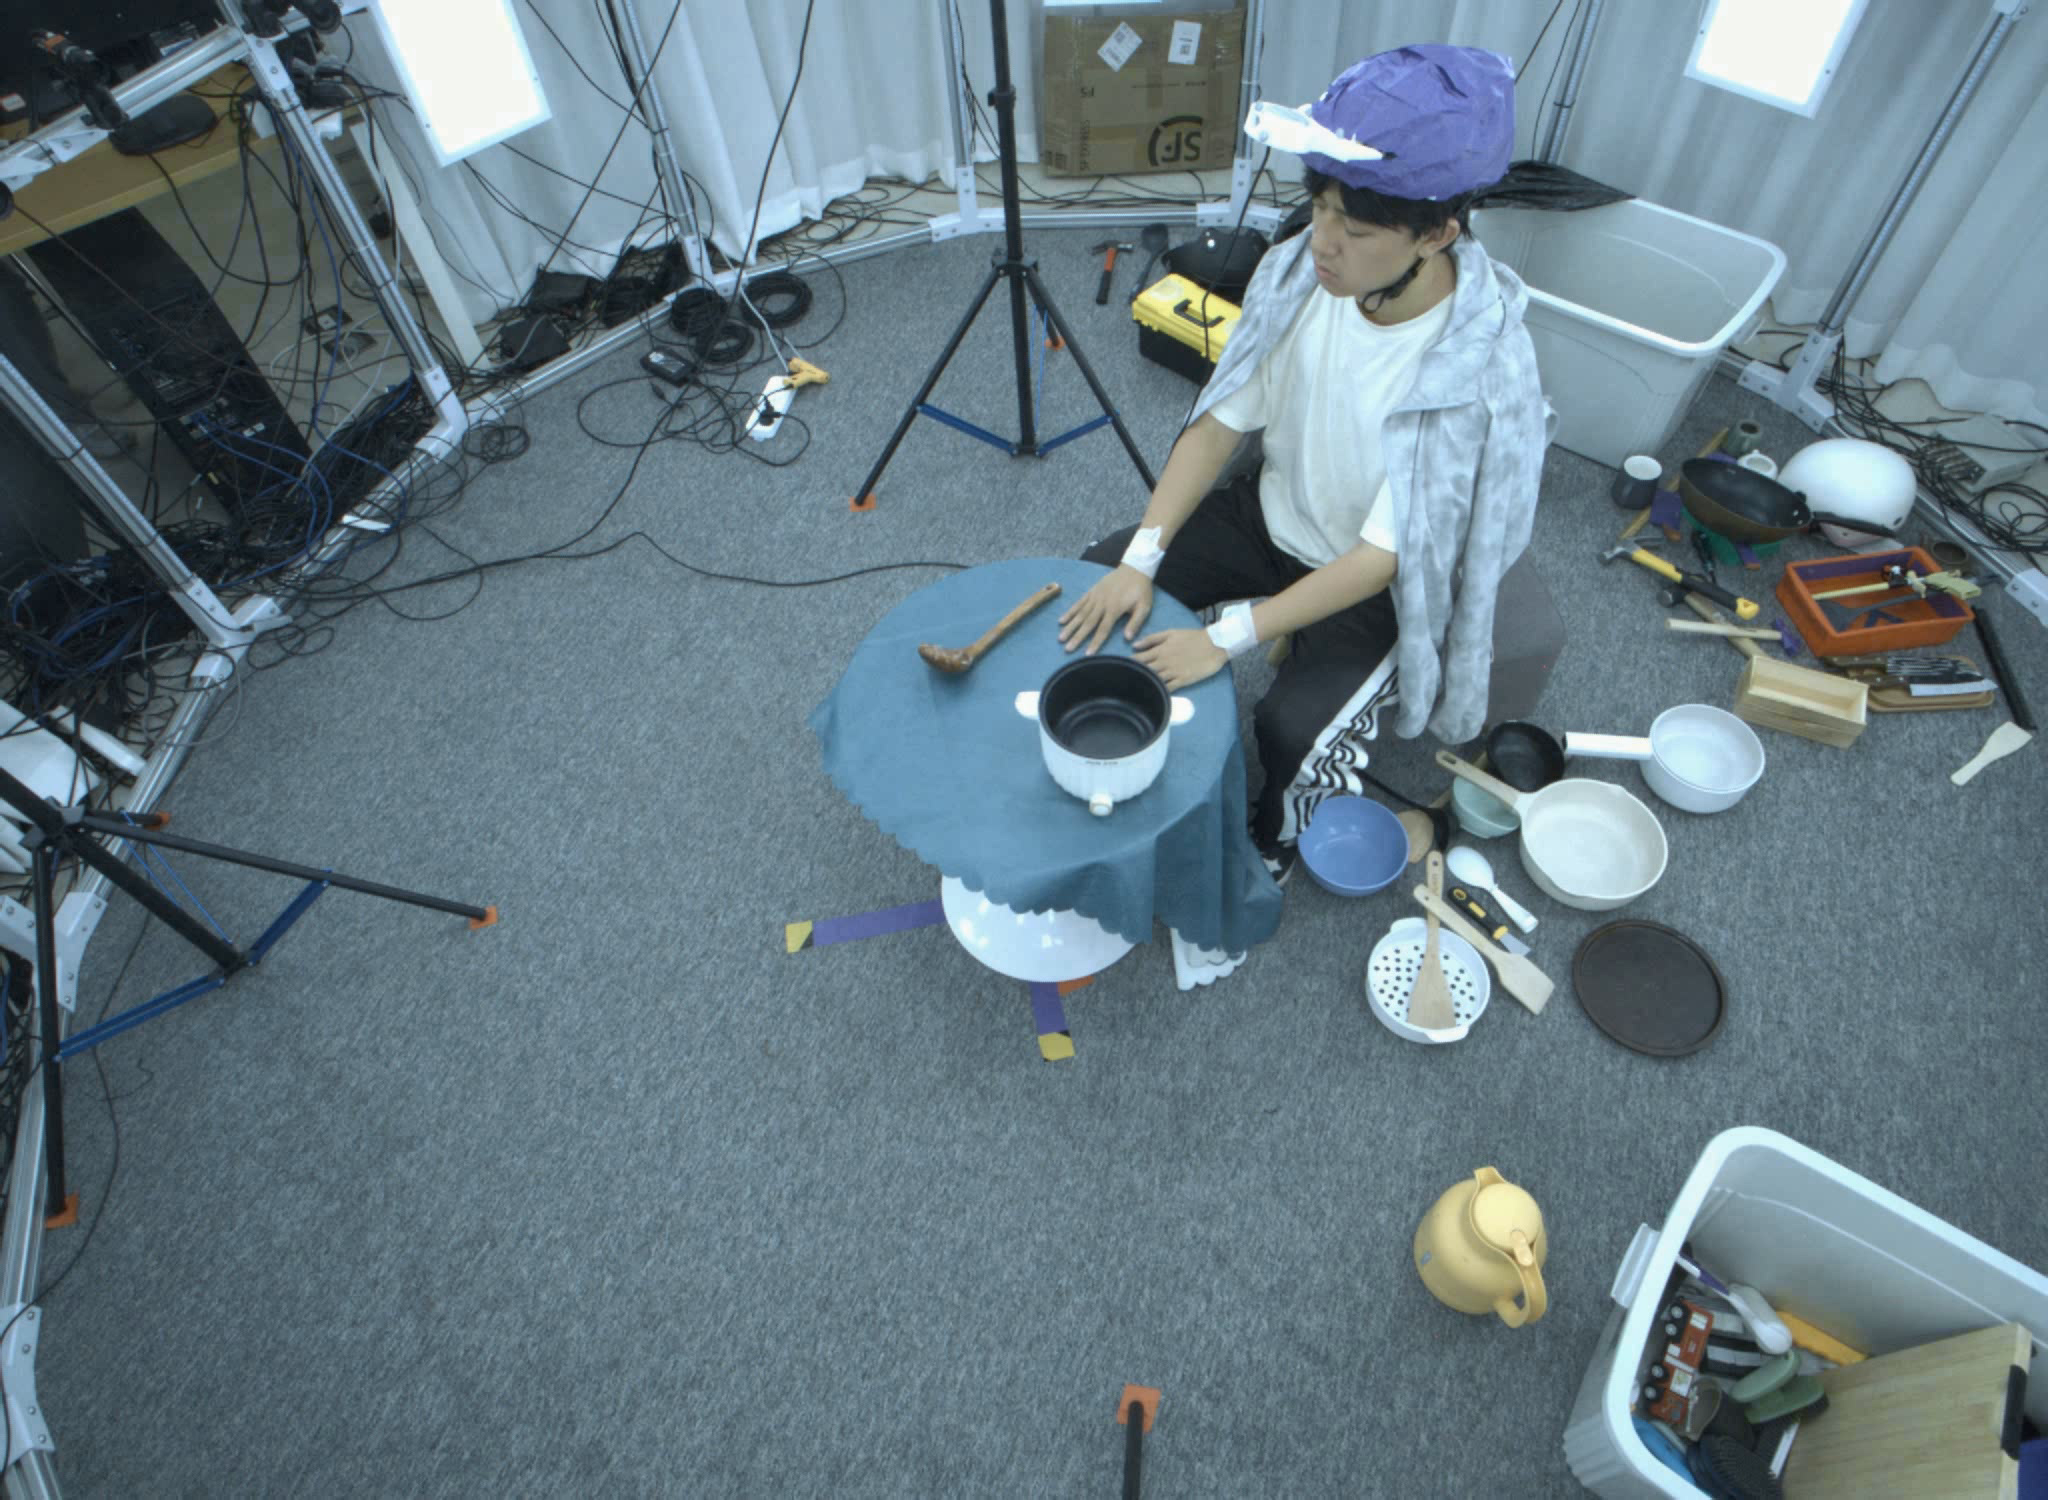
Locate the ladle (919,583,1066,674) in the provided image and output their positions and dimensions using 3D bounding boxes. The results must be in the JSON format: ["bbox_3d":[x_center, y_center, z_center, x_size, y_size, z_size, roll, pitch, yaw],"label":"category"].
[{"bbox_3d":[-0.046,-0.204,1.888,0.276,0.078,0.080,-40,53,-22],"label":"ladle"}]

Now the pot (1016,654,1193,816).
[{"bbox_3d":[0.113,-0.018,1.713,0.239,0.144,0.189,1,51,5],"label":"pot"}]
